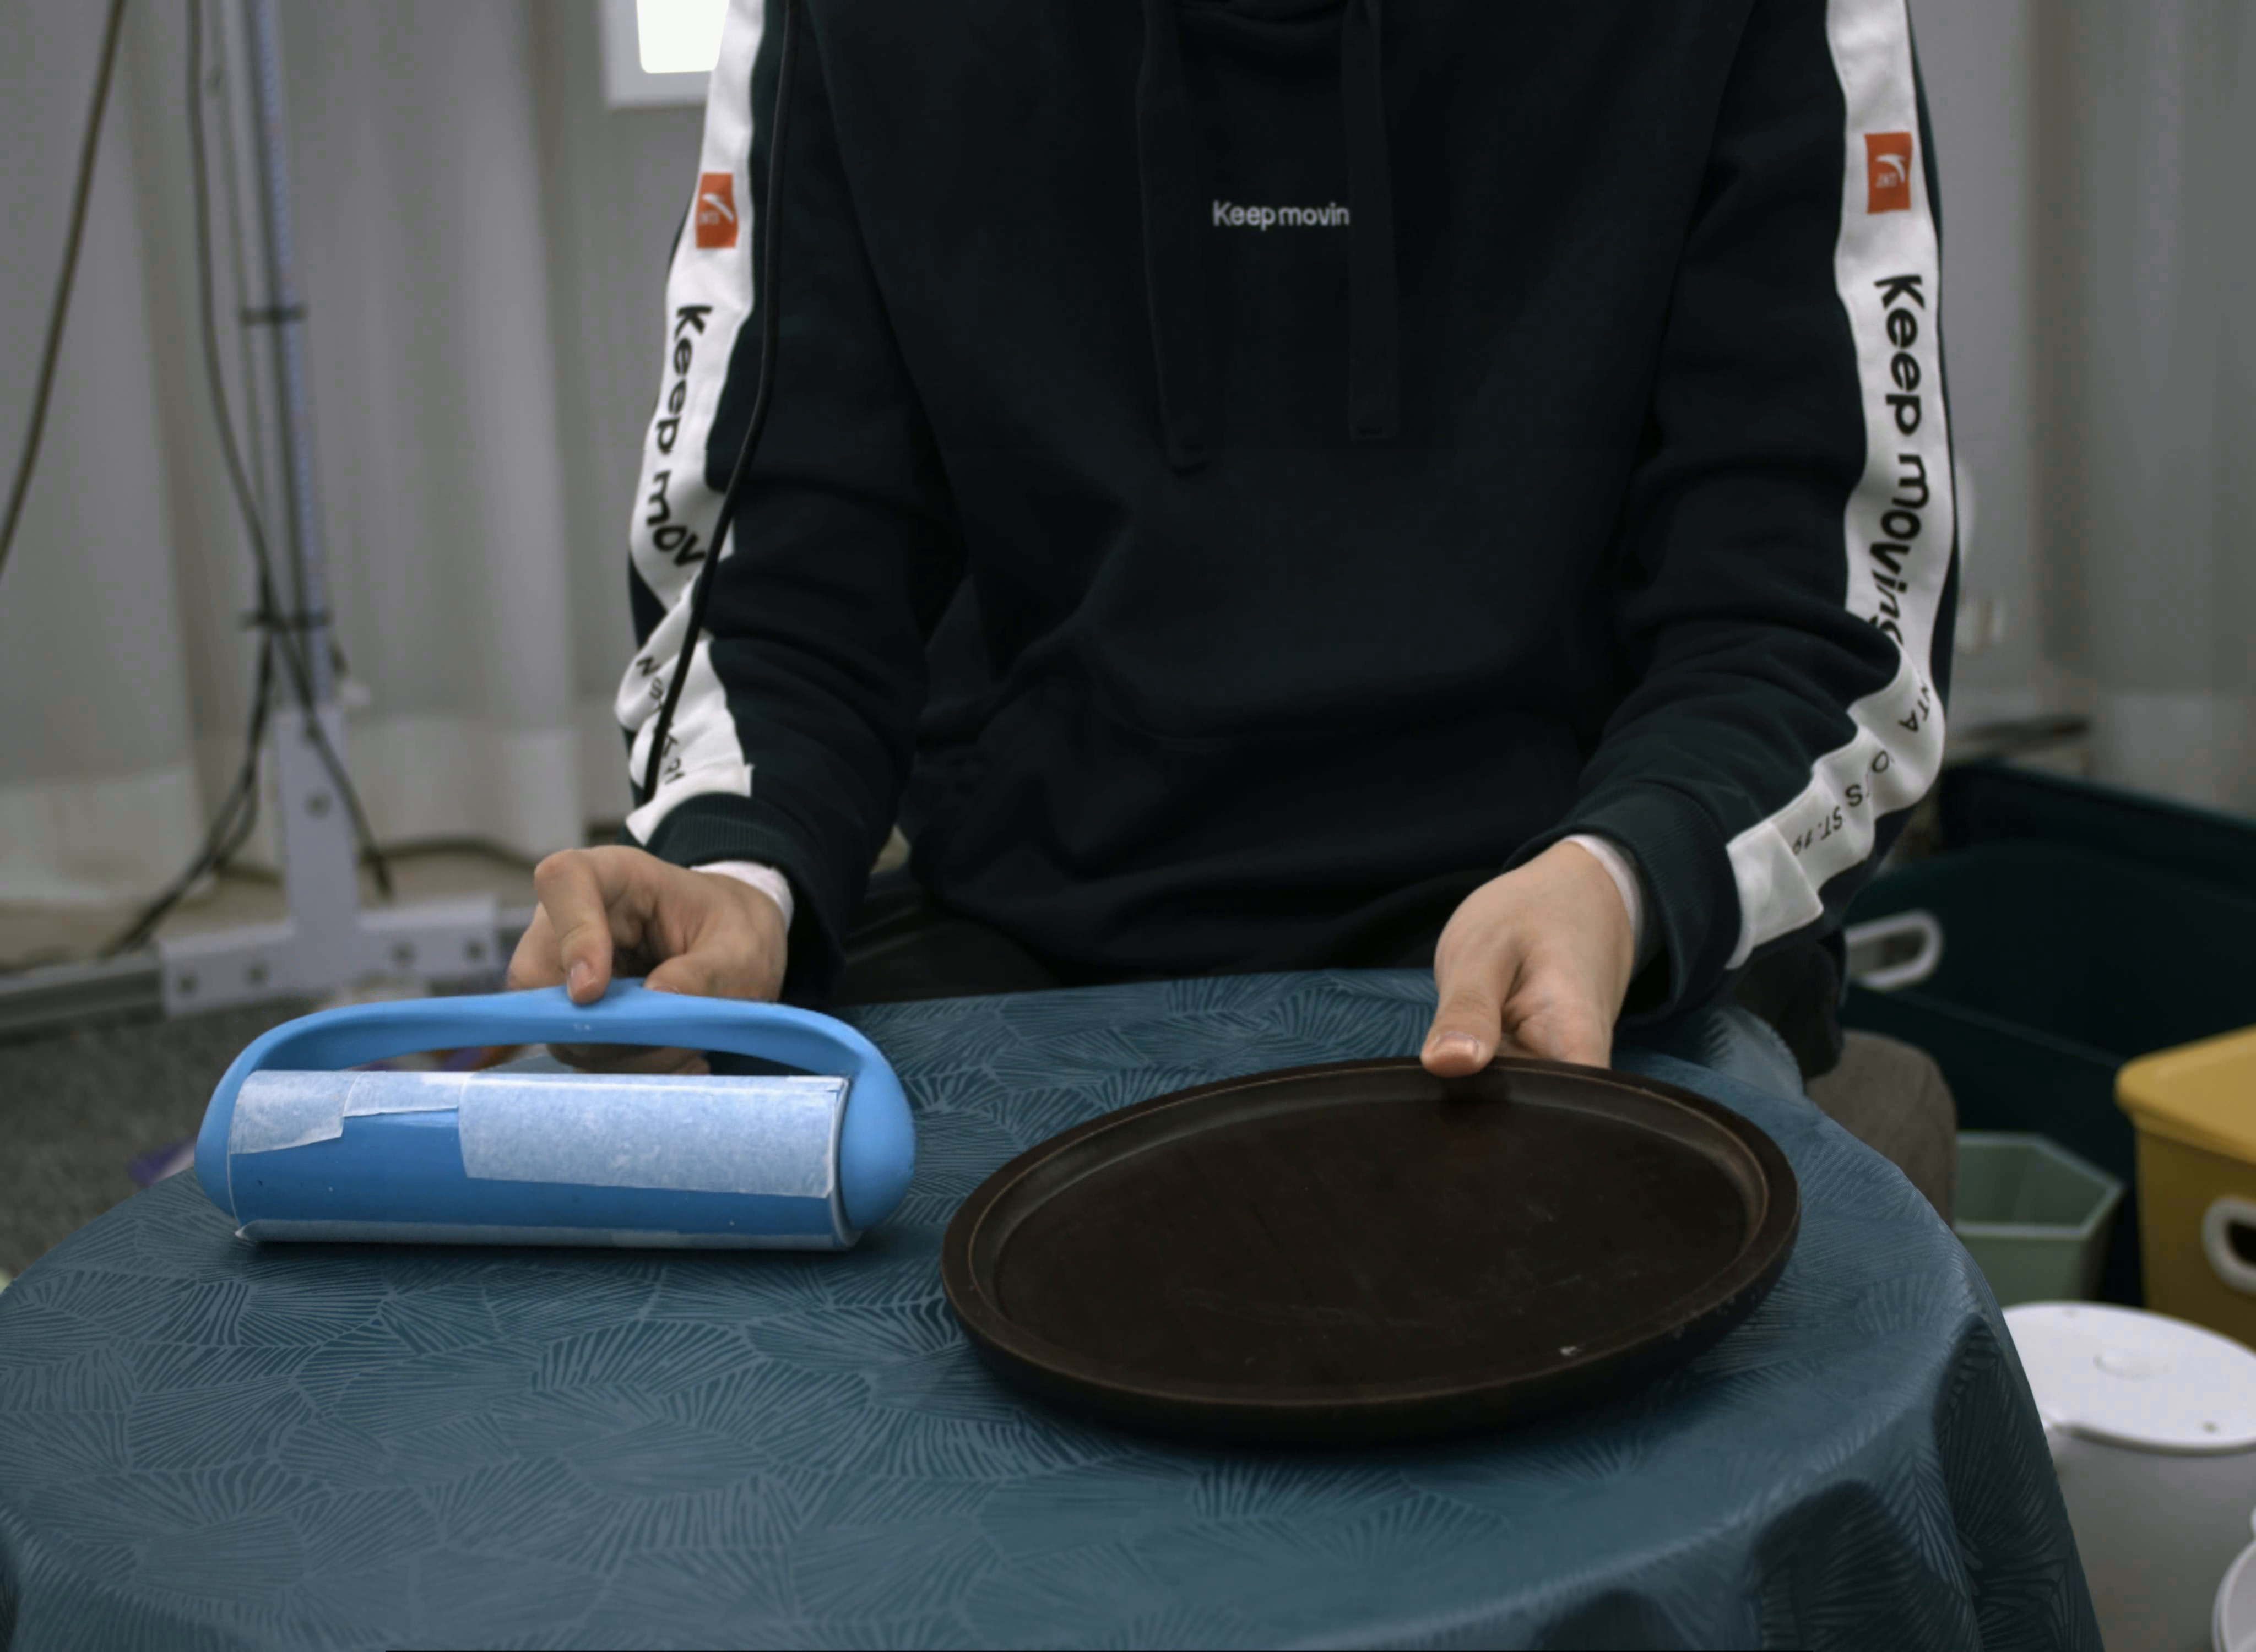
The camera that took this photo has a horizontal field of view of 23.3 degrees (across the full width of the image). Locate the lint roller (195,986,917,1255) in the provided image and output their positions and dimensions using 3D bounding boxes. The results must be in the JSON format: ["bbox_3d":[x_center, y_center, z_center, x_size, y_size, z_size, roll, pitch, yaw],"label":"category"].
[{"bbox_3d":[-0.170,0.082,1.742,0.228,0.067,0.182,-2,20,9],"label":"lint roller"}]

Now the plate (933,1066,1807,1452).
[{"bbox_3d":[0.071,0.123,1.592,0.254,0.029,0.257,-5,19,1],"label":"plate"}]
